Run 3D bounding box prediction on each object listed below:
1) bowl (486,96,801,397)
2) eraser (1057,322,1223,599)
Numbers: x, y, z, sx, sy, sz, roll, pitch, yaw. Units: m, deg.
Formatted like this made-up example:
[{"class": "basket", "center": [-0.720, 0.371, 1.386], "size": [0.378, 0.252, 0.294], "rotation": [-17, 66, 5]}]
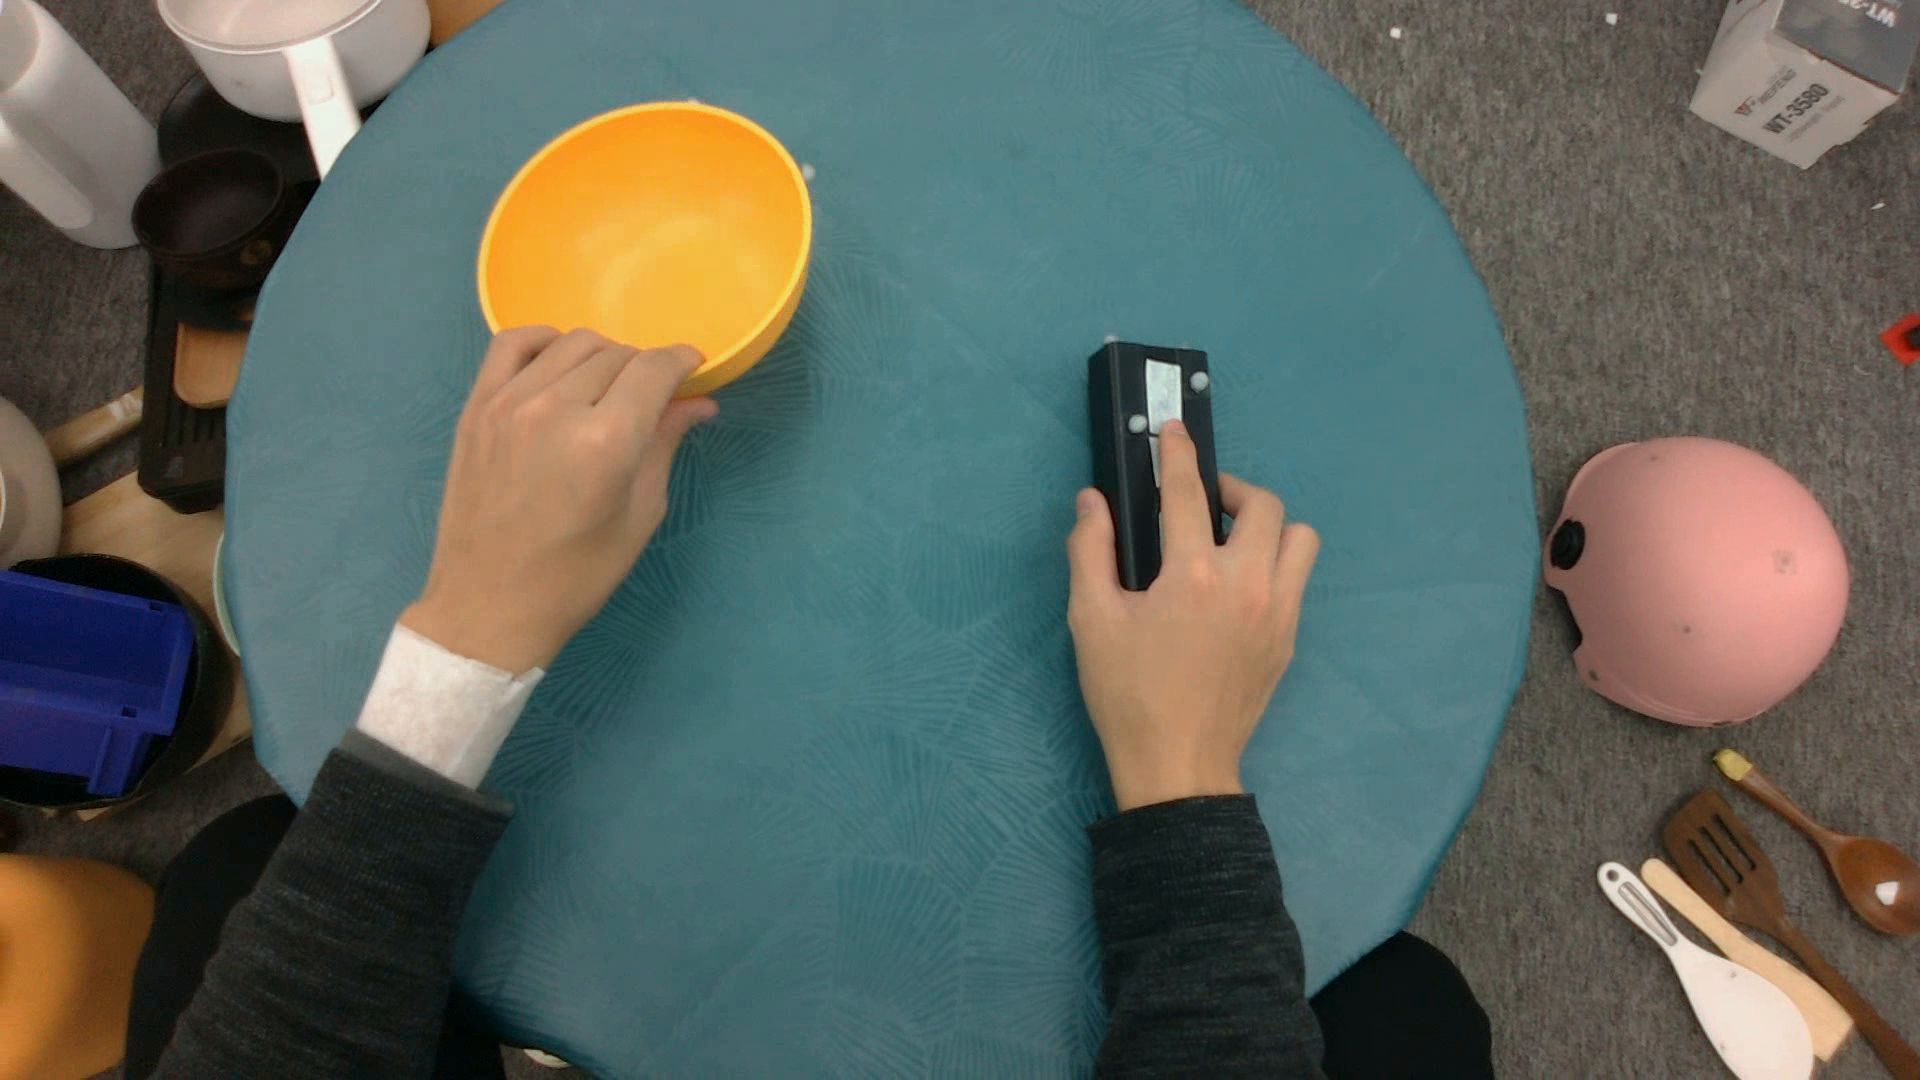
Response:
[{"class": "bowl", "center": [-0.126, -0.116, 0.596], "size": [0.145, 0.060, 0.146], "rotation": [-8, 63, 16]}, {"class": "eraser", "center": [0.078, -0.036, 0.609], "size": [0.053, 0.030, 0.126], "rotation": [1, 70, -25]}]
